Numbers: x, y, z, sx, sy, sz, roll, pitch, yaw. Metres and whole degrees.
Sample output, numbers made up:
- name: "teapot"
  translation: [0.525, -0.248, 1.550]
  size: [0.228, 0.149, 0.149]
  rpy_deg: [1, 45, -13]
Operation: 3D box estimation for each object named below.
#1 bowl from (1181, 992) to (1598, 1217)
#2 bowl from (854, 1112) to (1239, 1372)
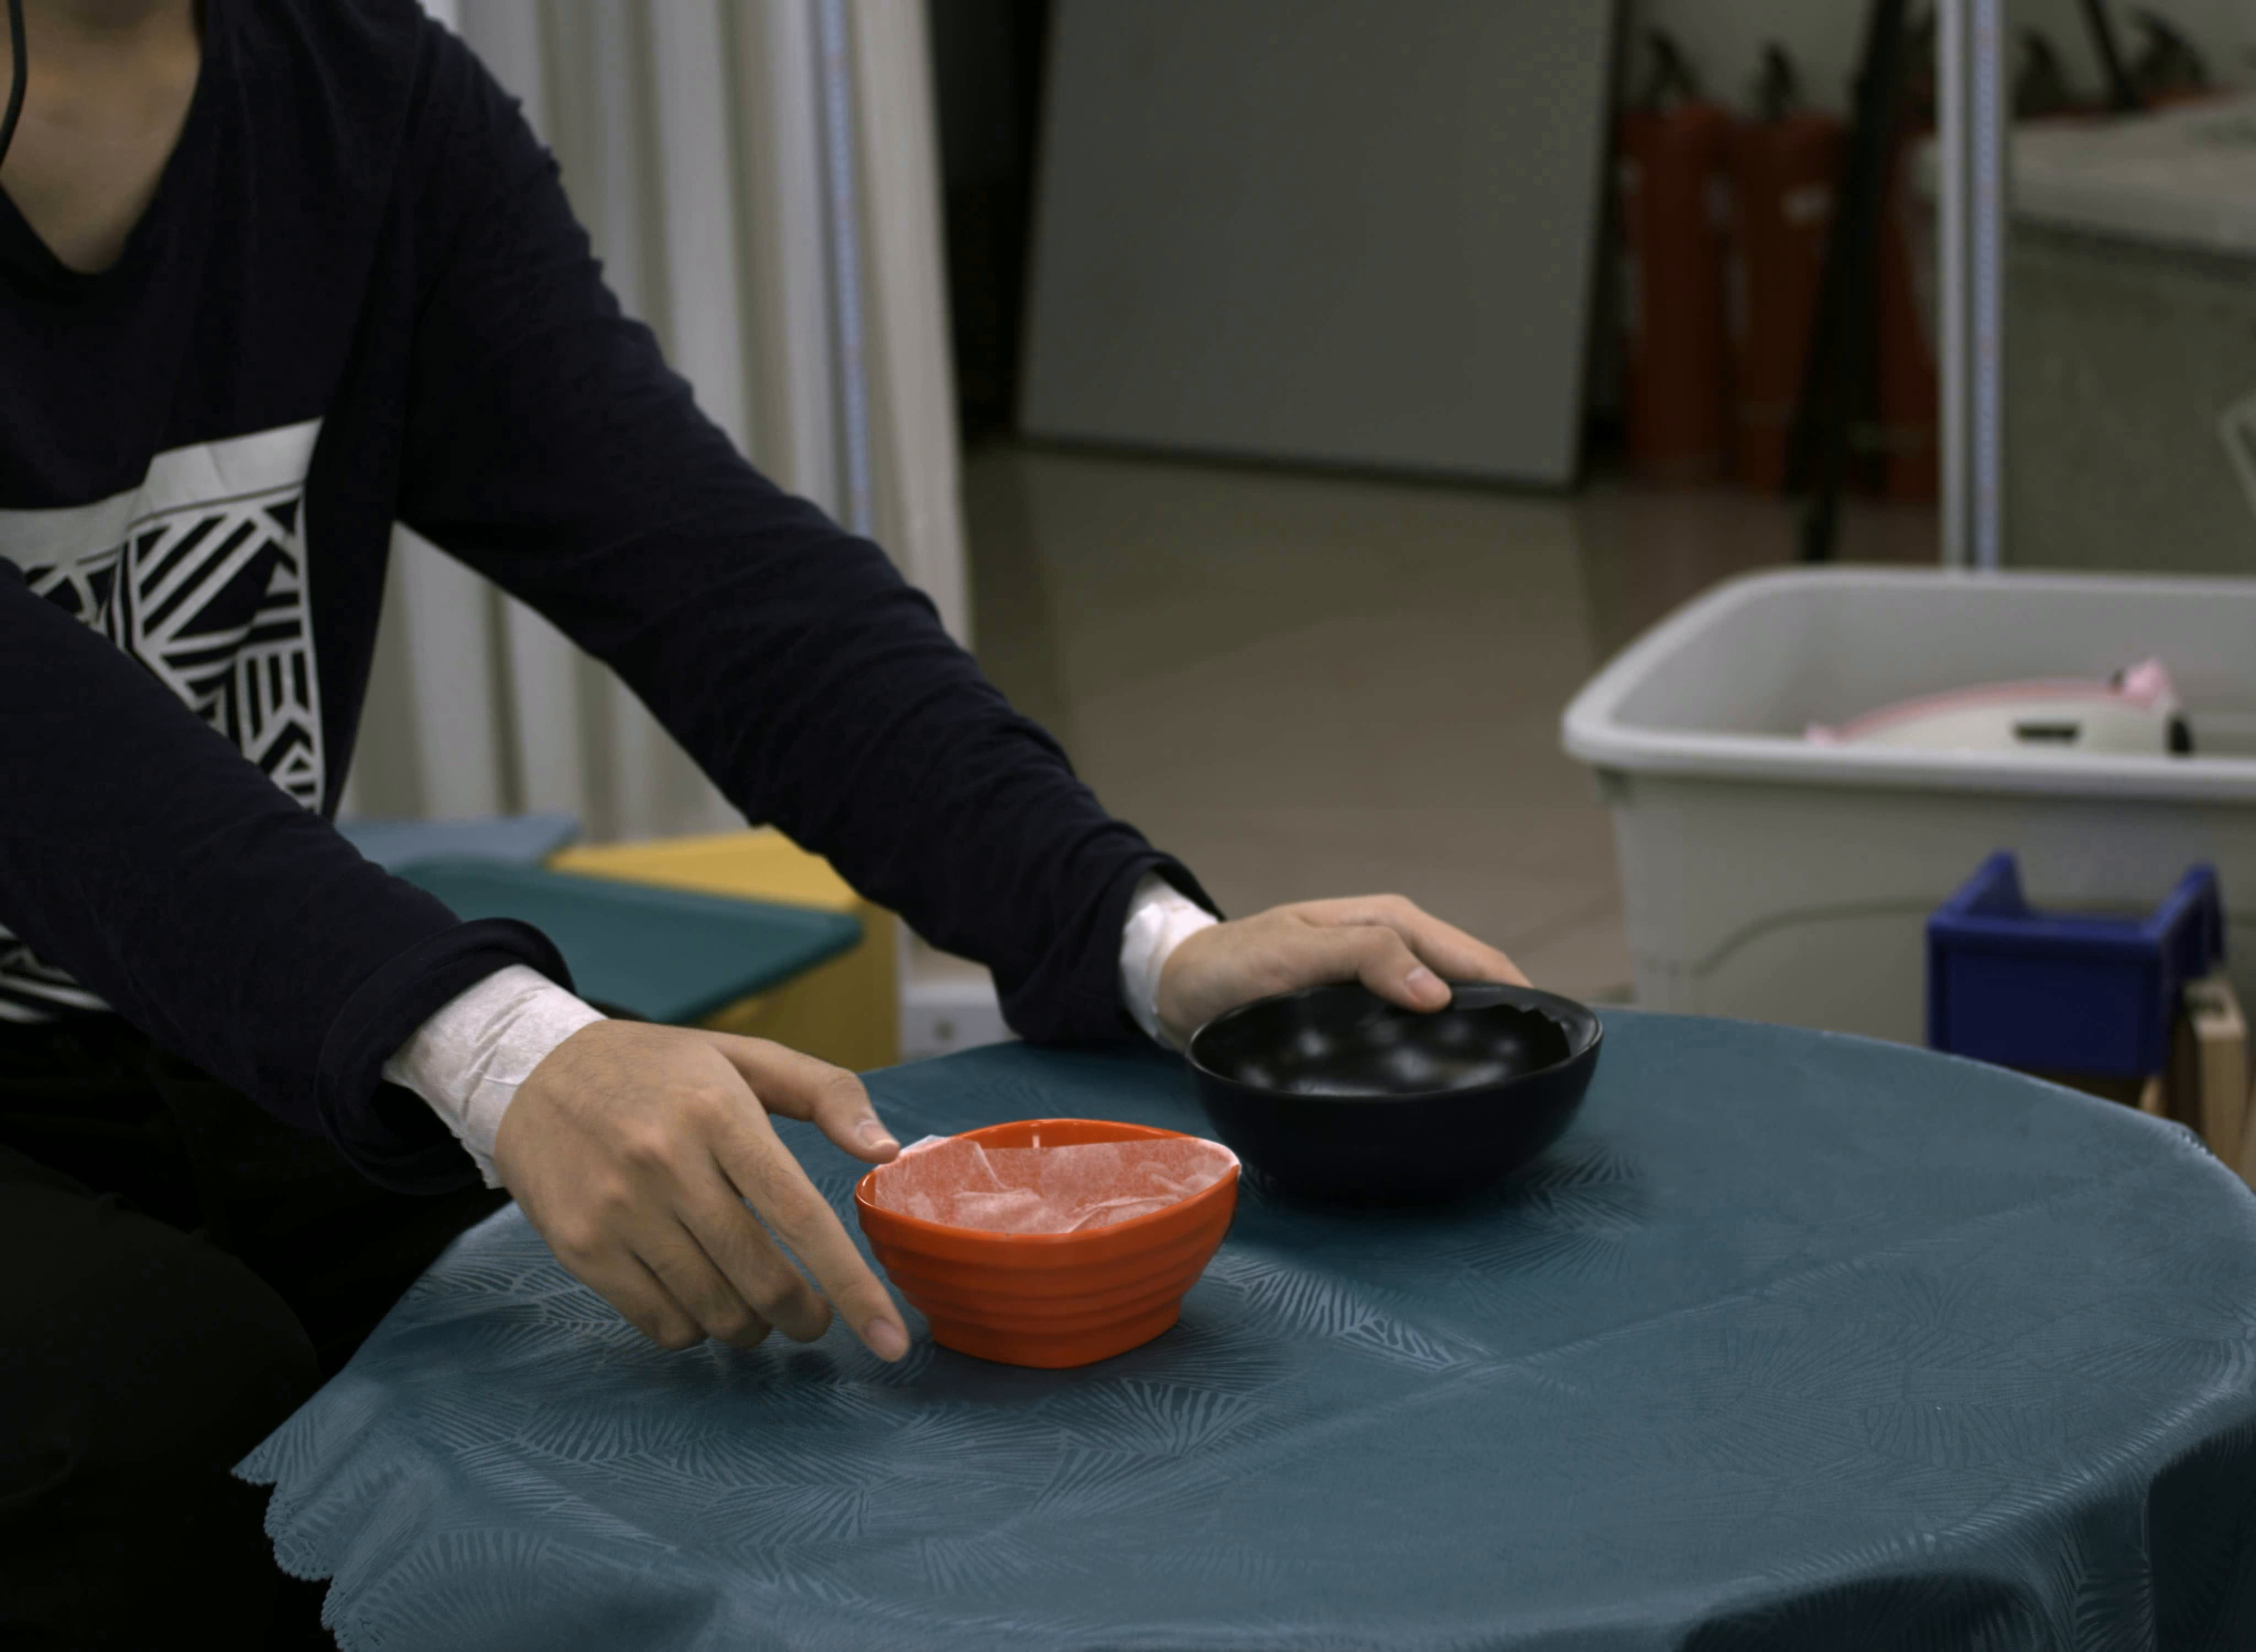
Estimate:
- name: "bowl"
  translation: [0.088, 0.095, 1.764]
  size: [0.138, 0.050, 0.140]
  rpy_deg: [-7, 10, 0]
- name: "bowl"
  translation: [-0.023, 0.129, 1.640]
  size: [0.117, 0.052, 0.119]
  rpy_deg: [-4, 15, 0]
